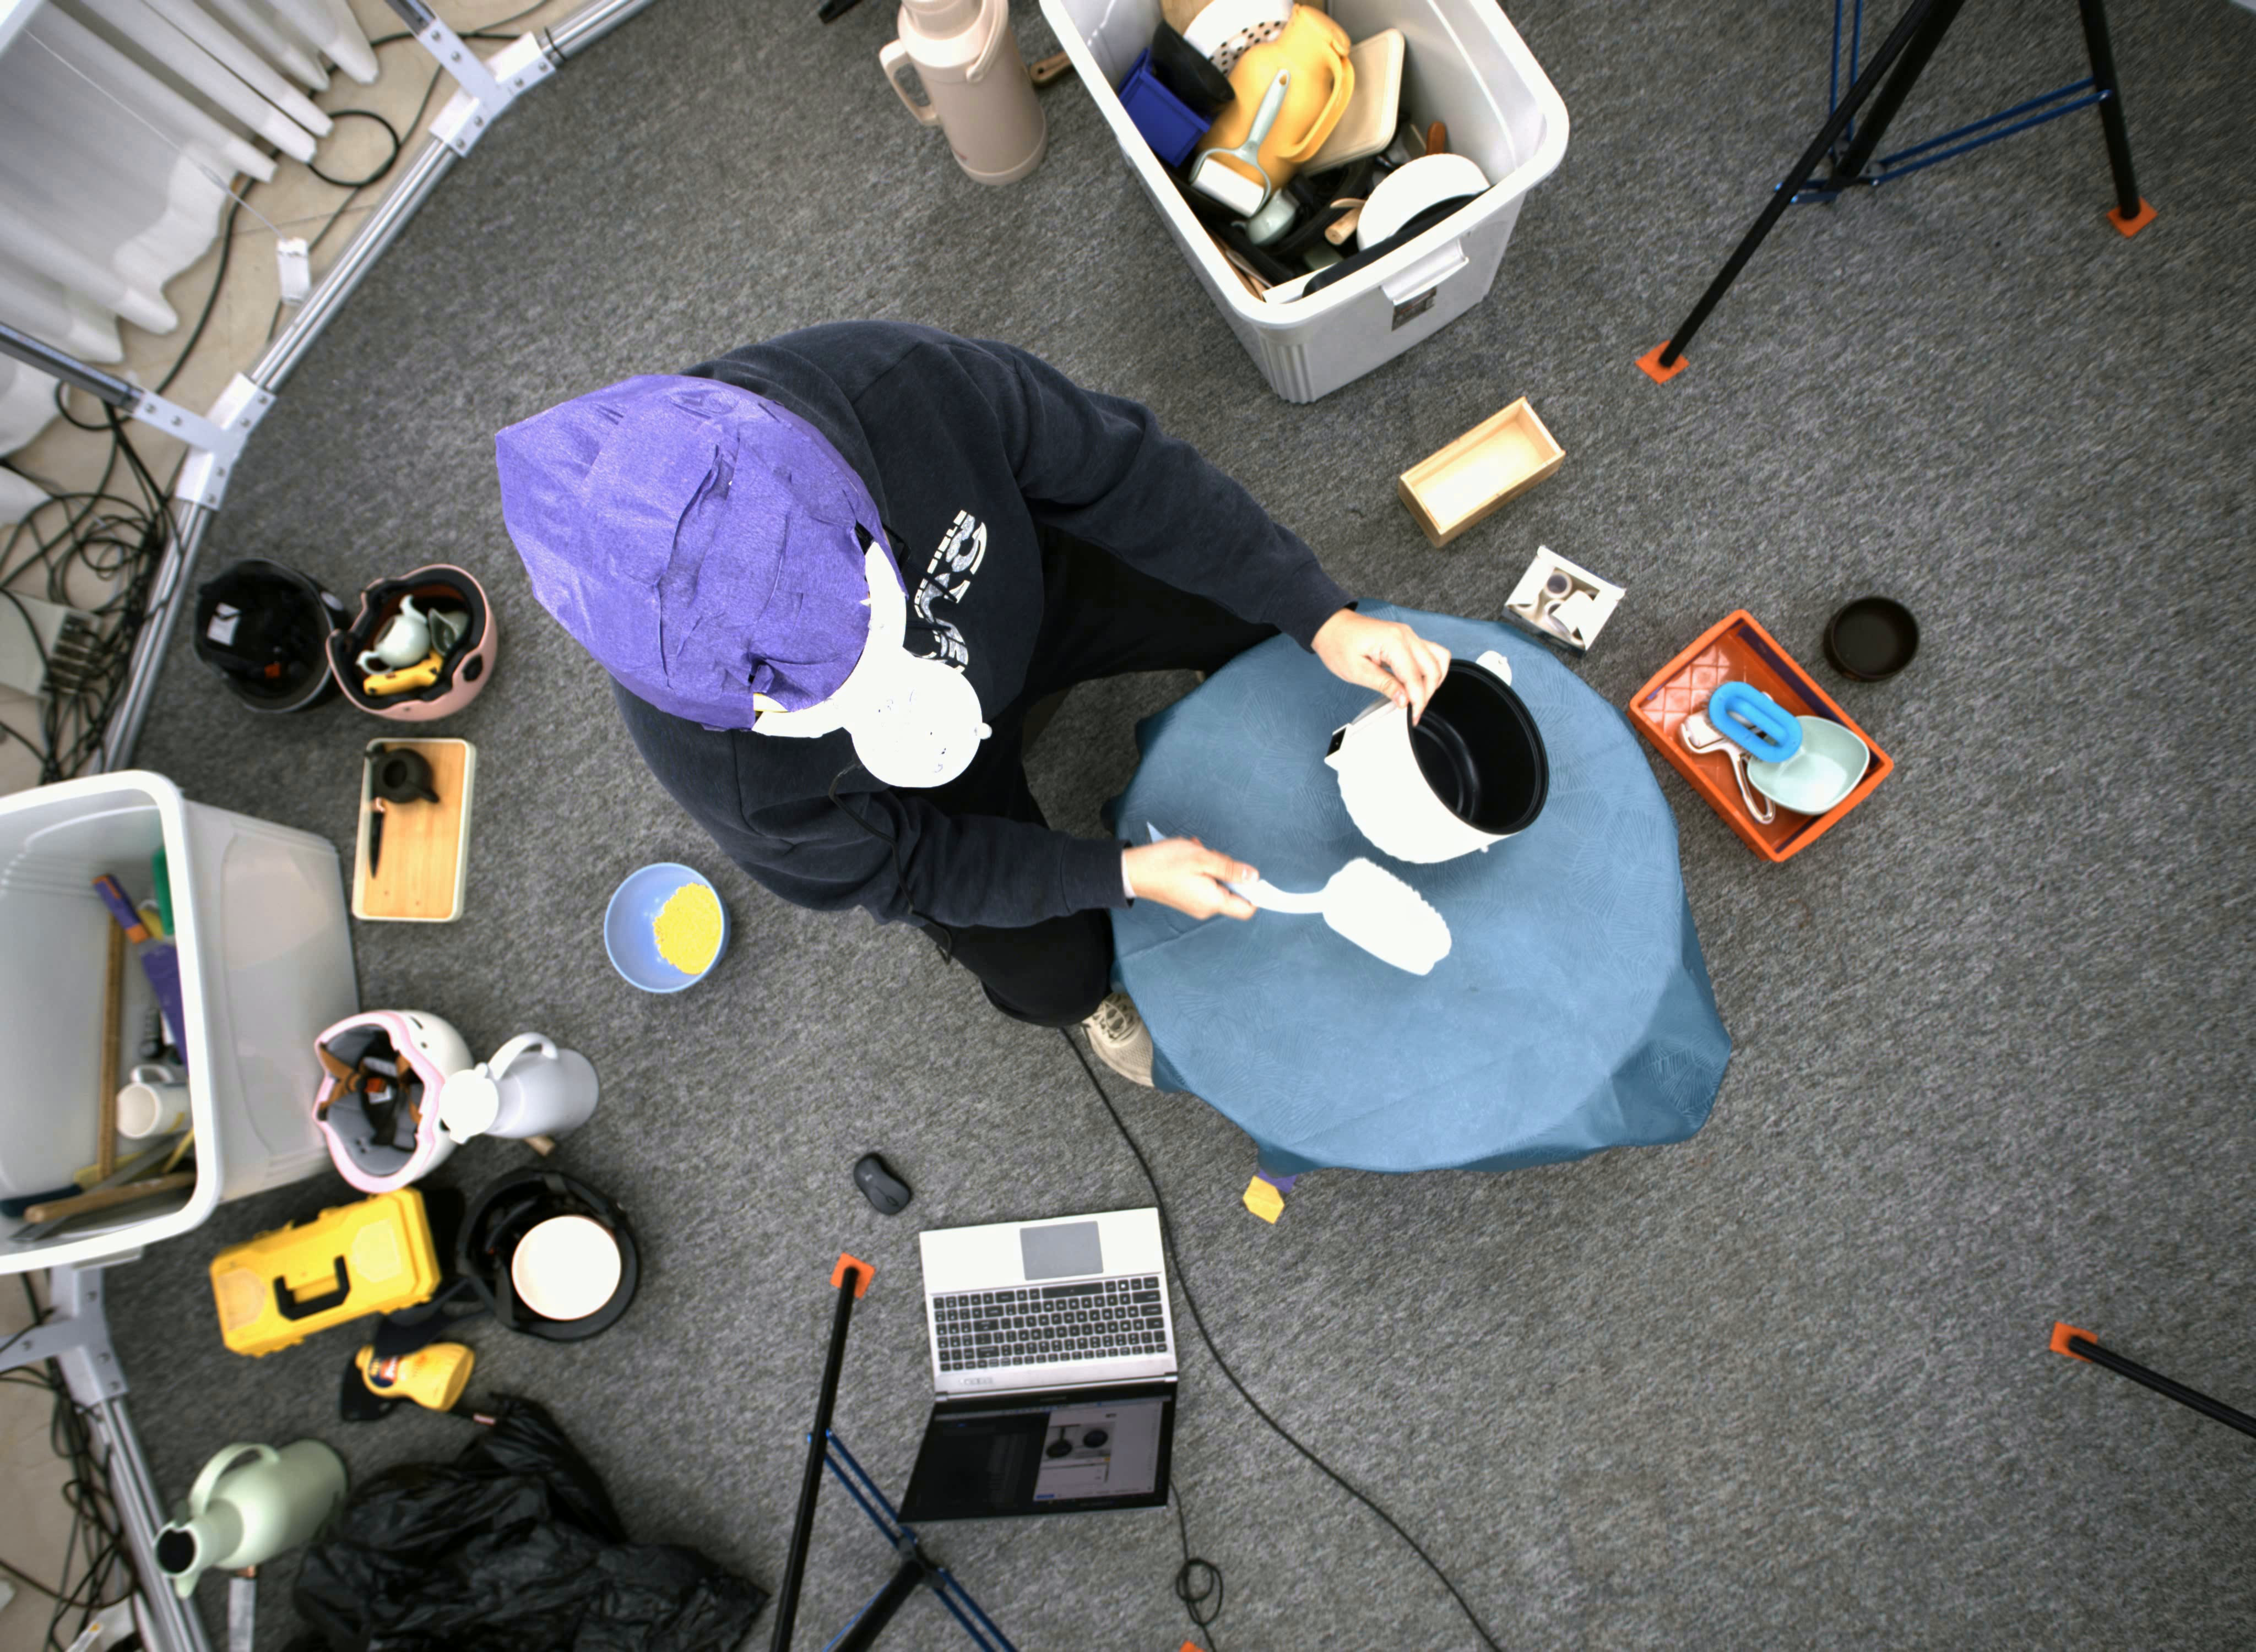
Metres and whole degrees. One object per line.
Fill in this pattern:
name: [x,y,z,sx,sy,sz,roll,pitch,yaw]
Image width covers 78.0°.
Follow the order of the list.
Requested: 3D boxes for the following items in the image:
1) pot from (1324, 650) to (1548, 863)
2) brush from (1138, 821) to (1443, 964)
pot: [0.308,-0.056,1.369,0.191,0.145,0.235,30,62,-15]
brush: [0.164,0.041,1.385,0.325,0.084,0.084,23,101,19]
